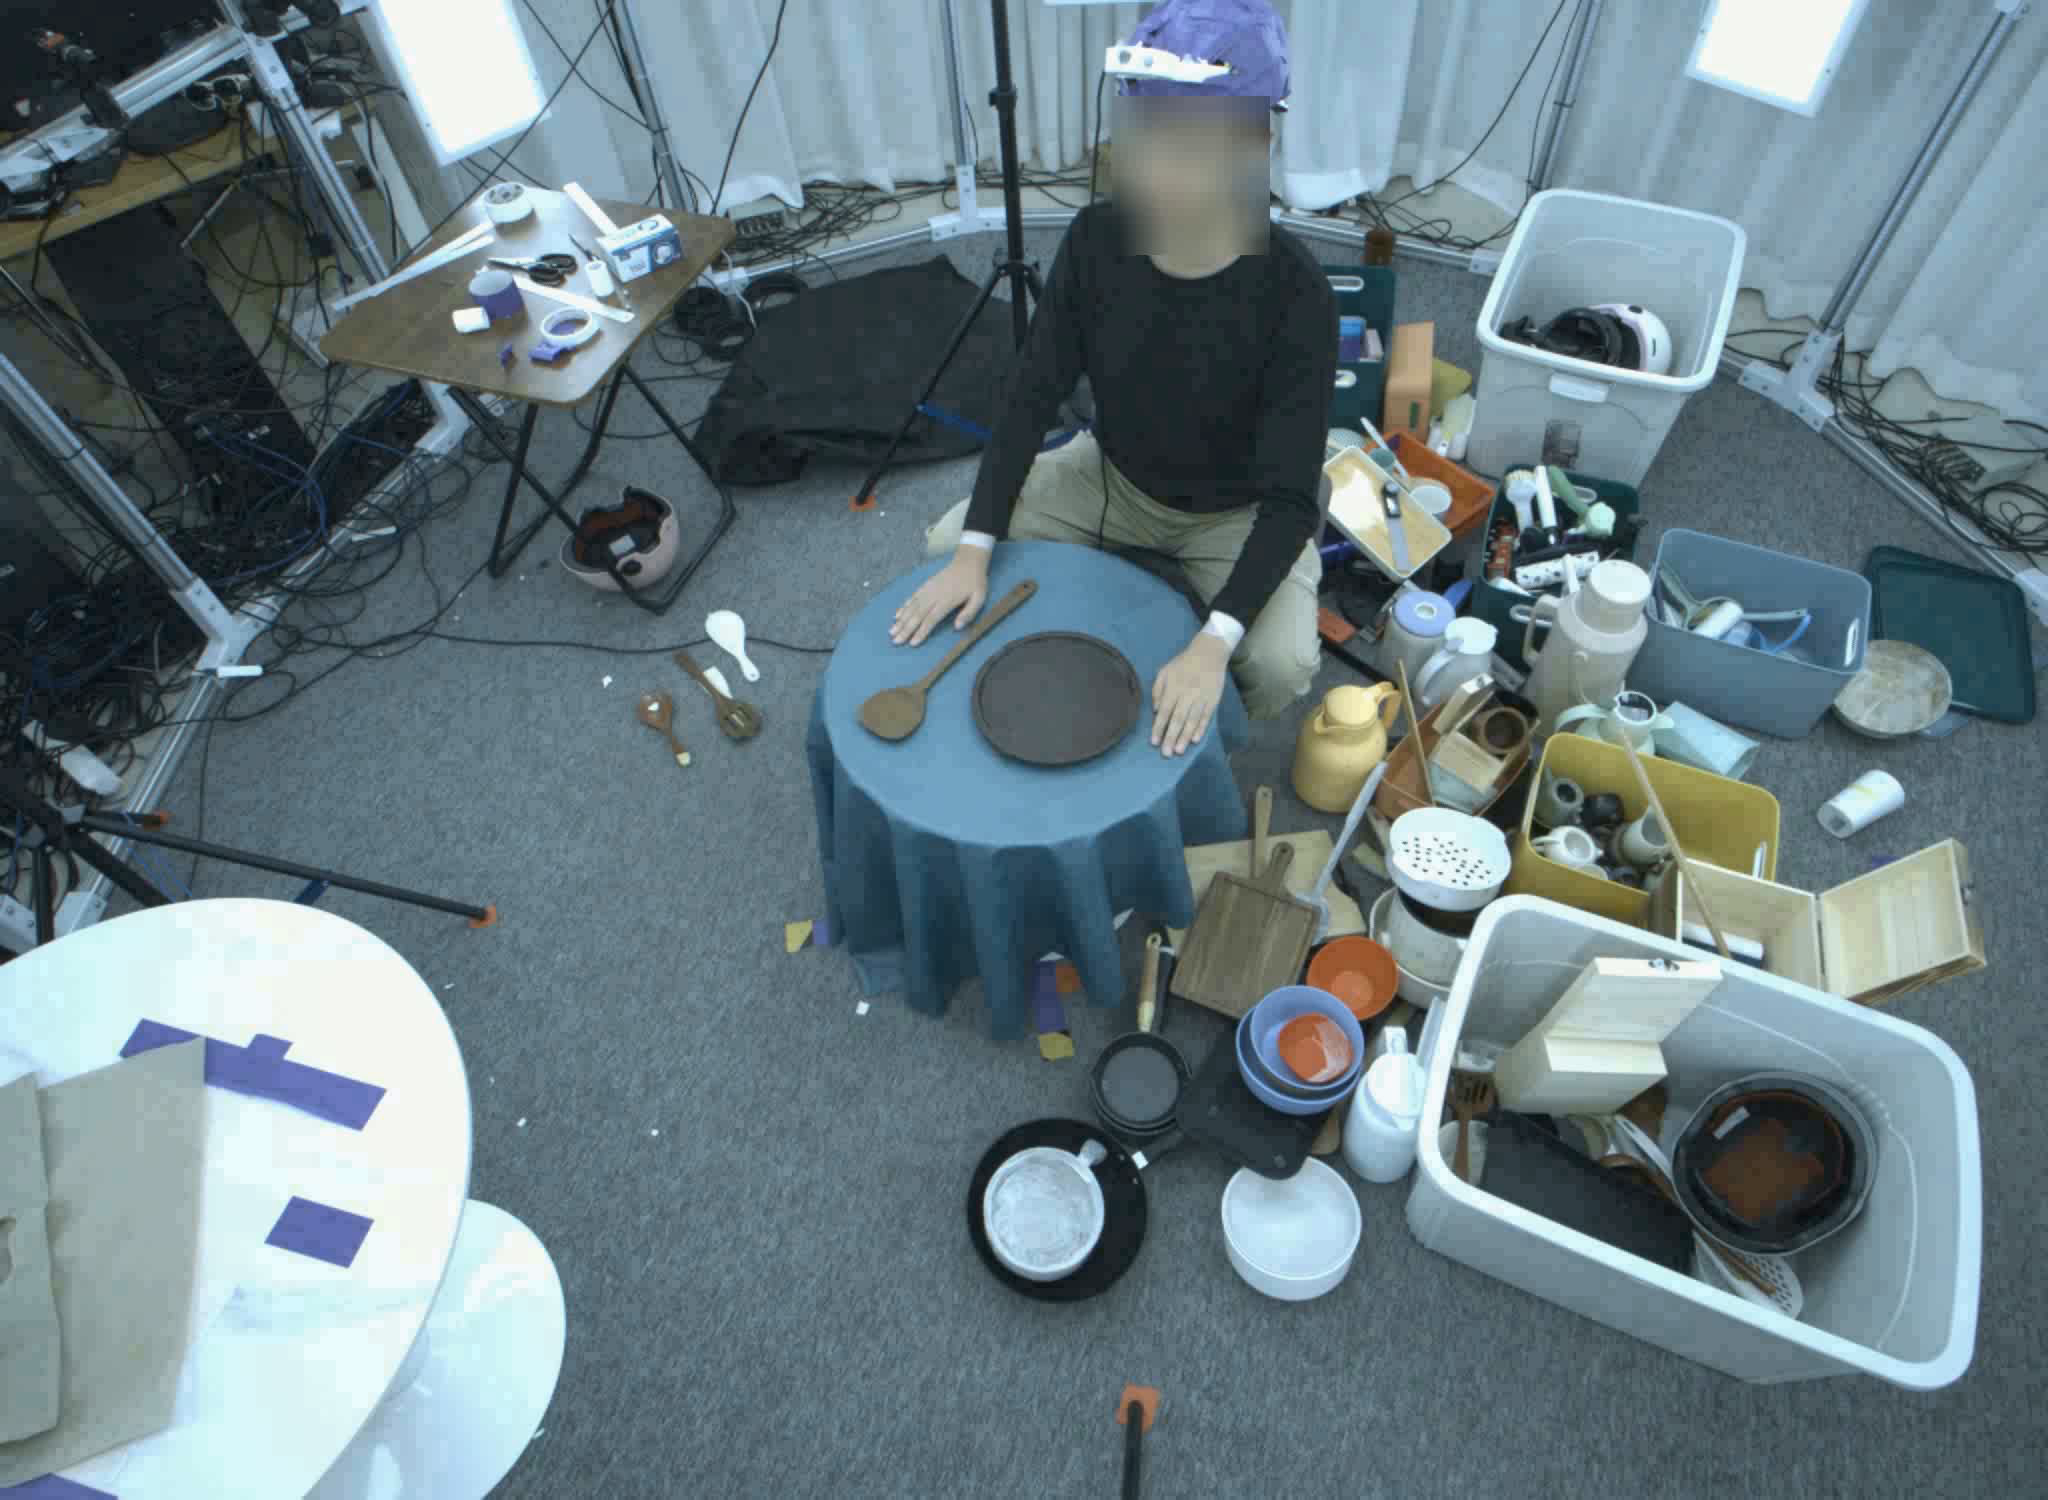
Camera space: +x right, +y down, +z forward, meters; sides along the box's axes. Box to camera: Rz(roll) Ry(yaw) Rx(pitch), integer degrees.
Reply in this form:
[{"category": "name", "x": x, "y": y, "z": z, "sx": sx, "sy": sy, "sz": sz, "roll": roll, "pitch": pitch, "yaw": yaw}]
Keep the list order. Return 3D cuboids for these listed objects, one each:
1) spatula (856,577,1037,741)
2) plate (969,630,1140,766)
[{"category": "spatula", "x": -0.105, "y": -0.152, "z": 1.889, "sx": 0.094, "sy": 0.016, "sz": 0.388, "roll": 32, "pitch": 62, "yaw": 21}, {"category": "plate", "x": 0.046, "y": -0.078, "z": 1.827, "sx": 0.254, "sy": 0.029, "sz": 0.252, "roll": -1, "pitch": 54, "yaw": 3}]
